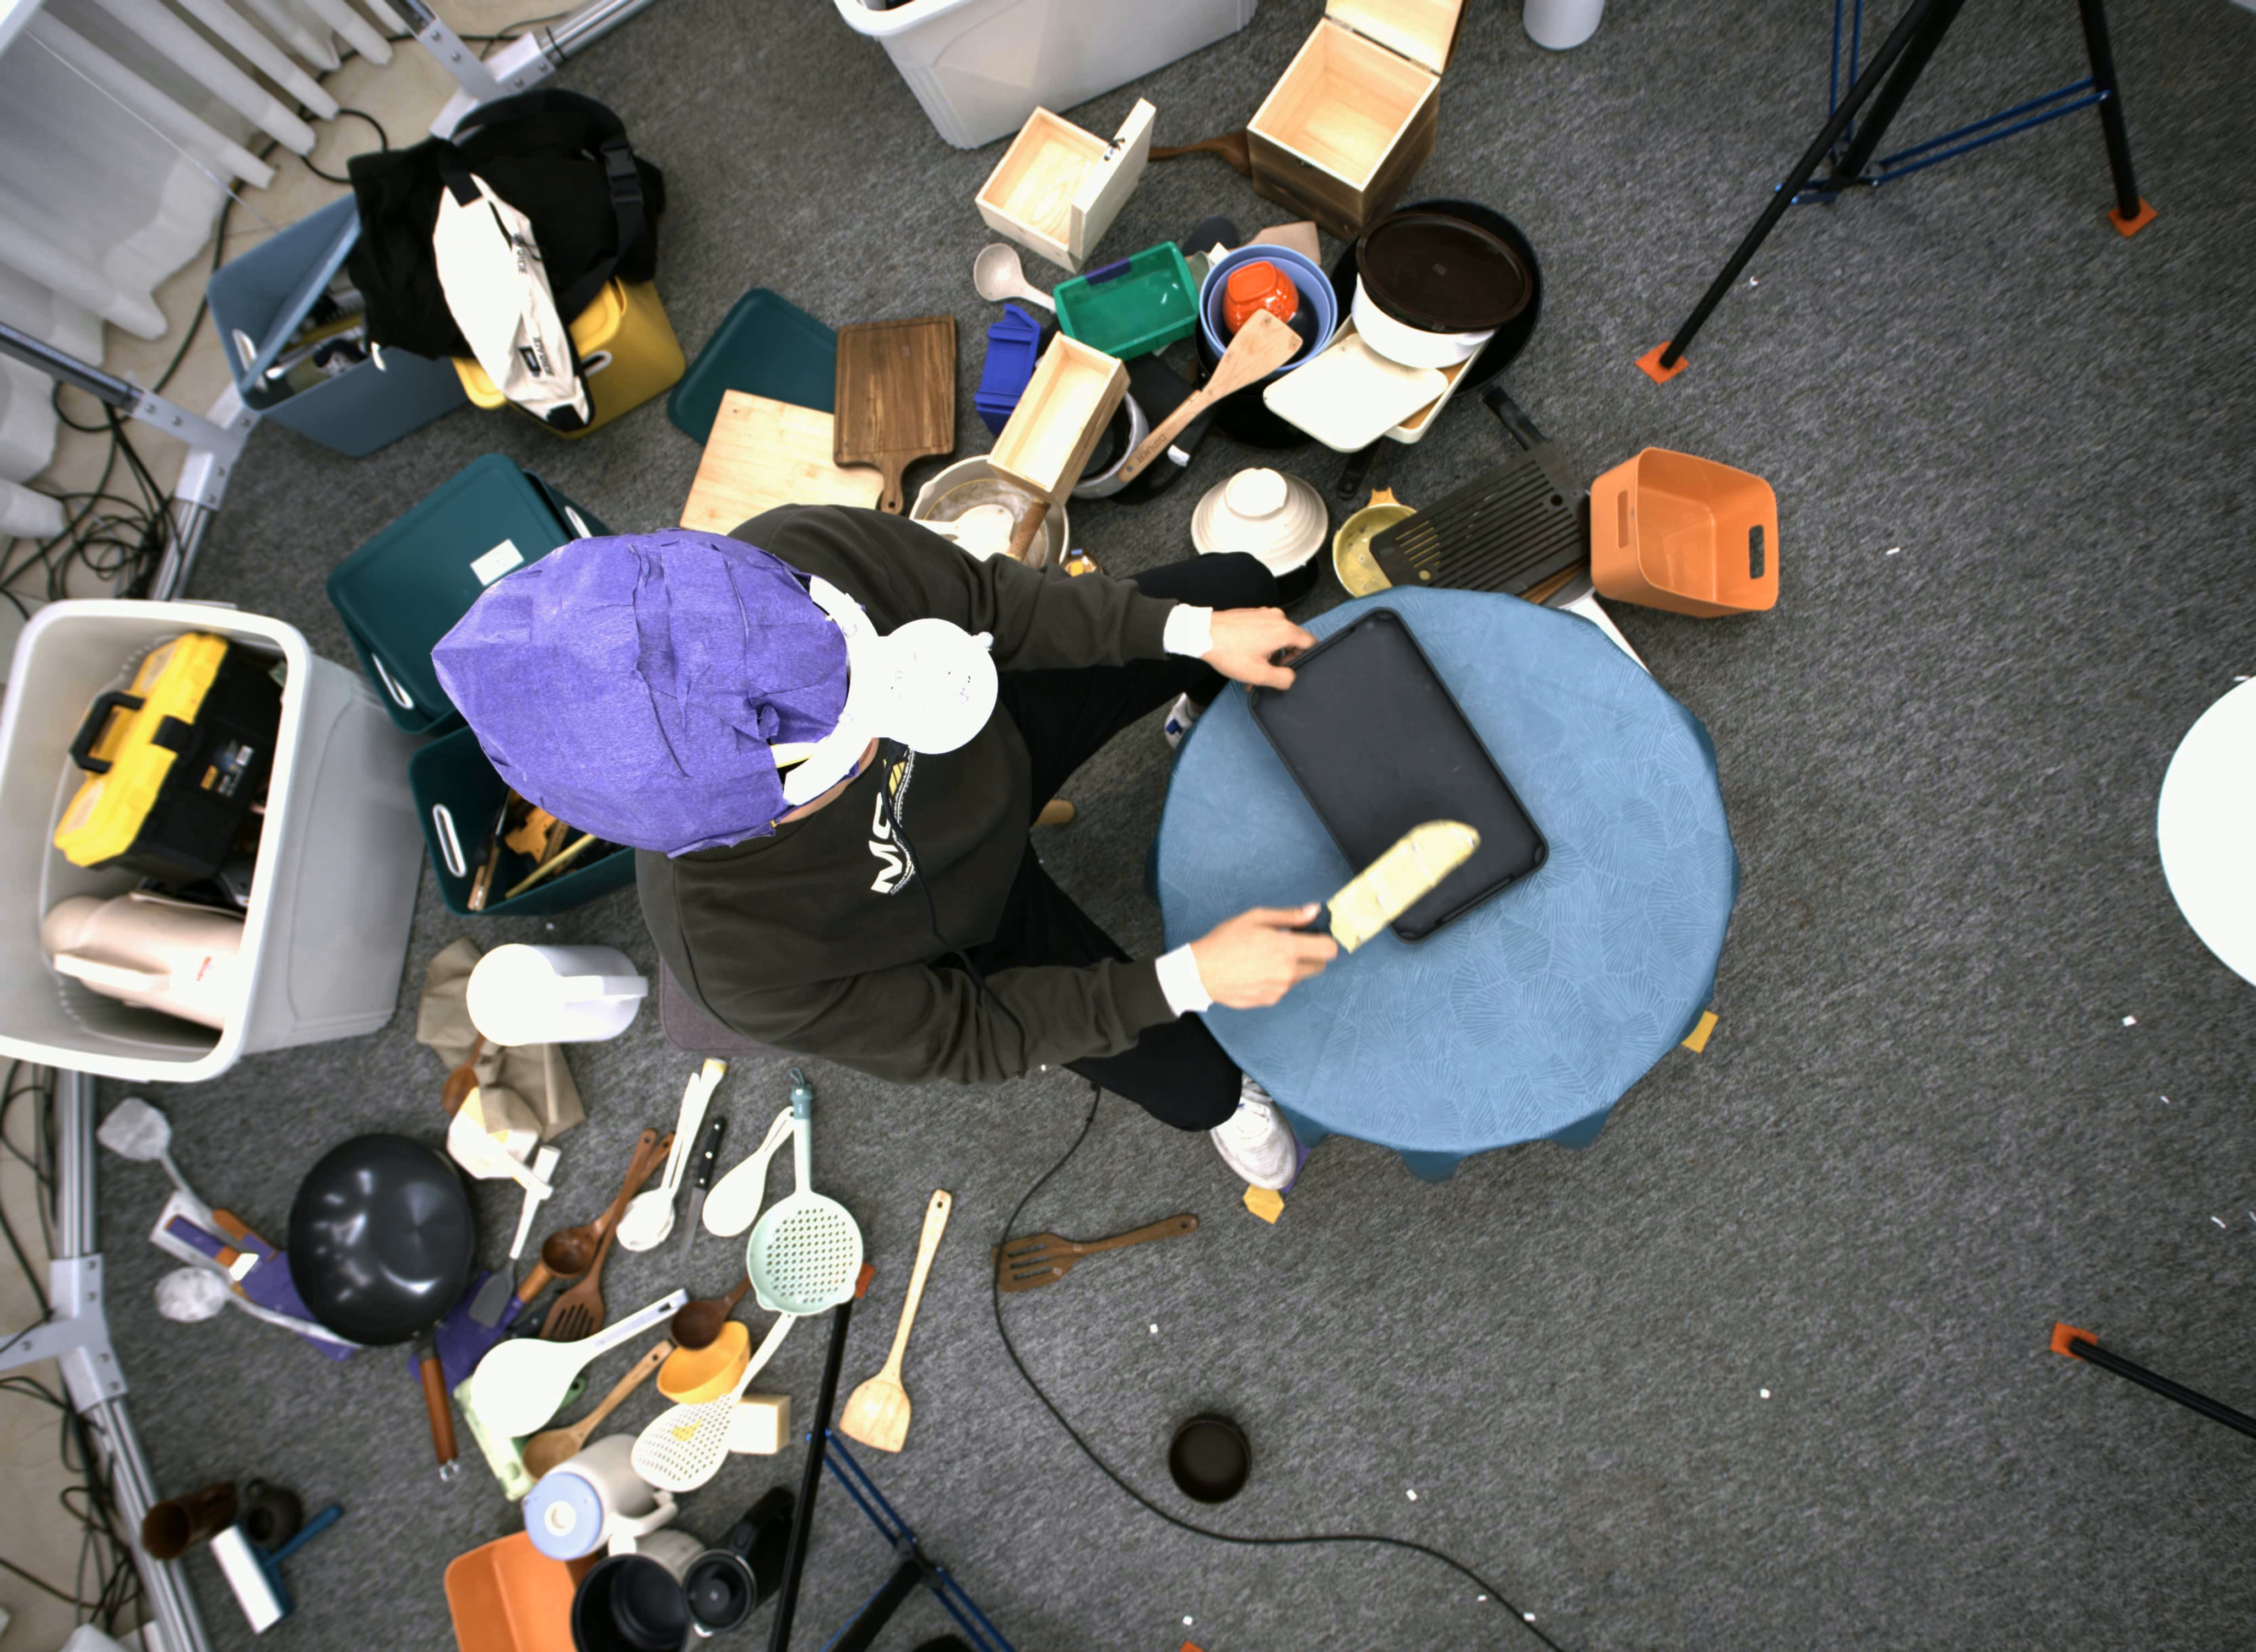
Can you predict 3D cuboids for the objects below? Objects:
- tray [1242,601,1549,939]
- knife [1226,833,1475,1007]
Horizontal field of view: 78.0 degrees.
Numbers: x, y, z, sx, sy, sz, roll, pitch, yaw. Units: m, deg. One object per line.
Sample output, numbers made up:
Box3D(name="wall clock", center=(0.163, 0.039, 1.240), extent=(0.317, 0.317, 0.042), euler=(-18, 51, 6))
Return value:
Box3D(name="tray", center=(0.275, -0.059, 1.424), extent=(0.185, 0.037, 0.318), euler=(-34, 90, 9))
Box3D(name="knife", center=(0.221, 0.095, 1.361), extent=(0.292, 0.082, 0.026), euler=(-36, 37, 10))
